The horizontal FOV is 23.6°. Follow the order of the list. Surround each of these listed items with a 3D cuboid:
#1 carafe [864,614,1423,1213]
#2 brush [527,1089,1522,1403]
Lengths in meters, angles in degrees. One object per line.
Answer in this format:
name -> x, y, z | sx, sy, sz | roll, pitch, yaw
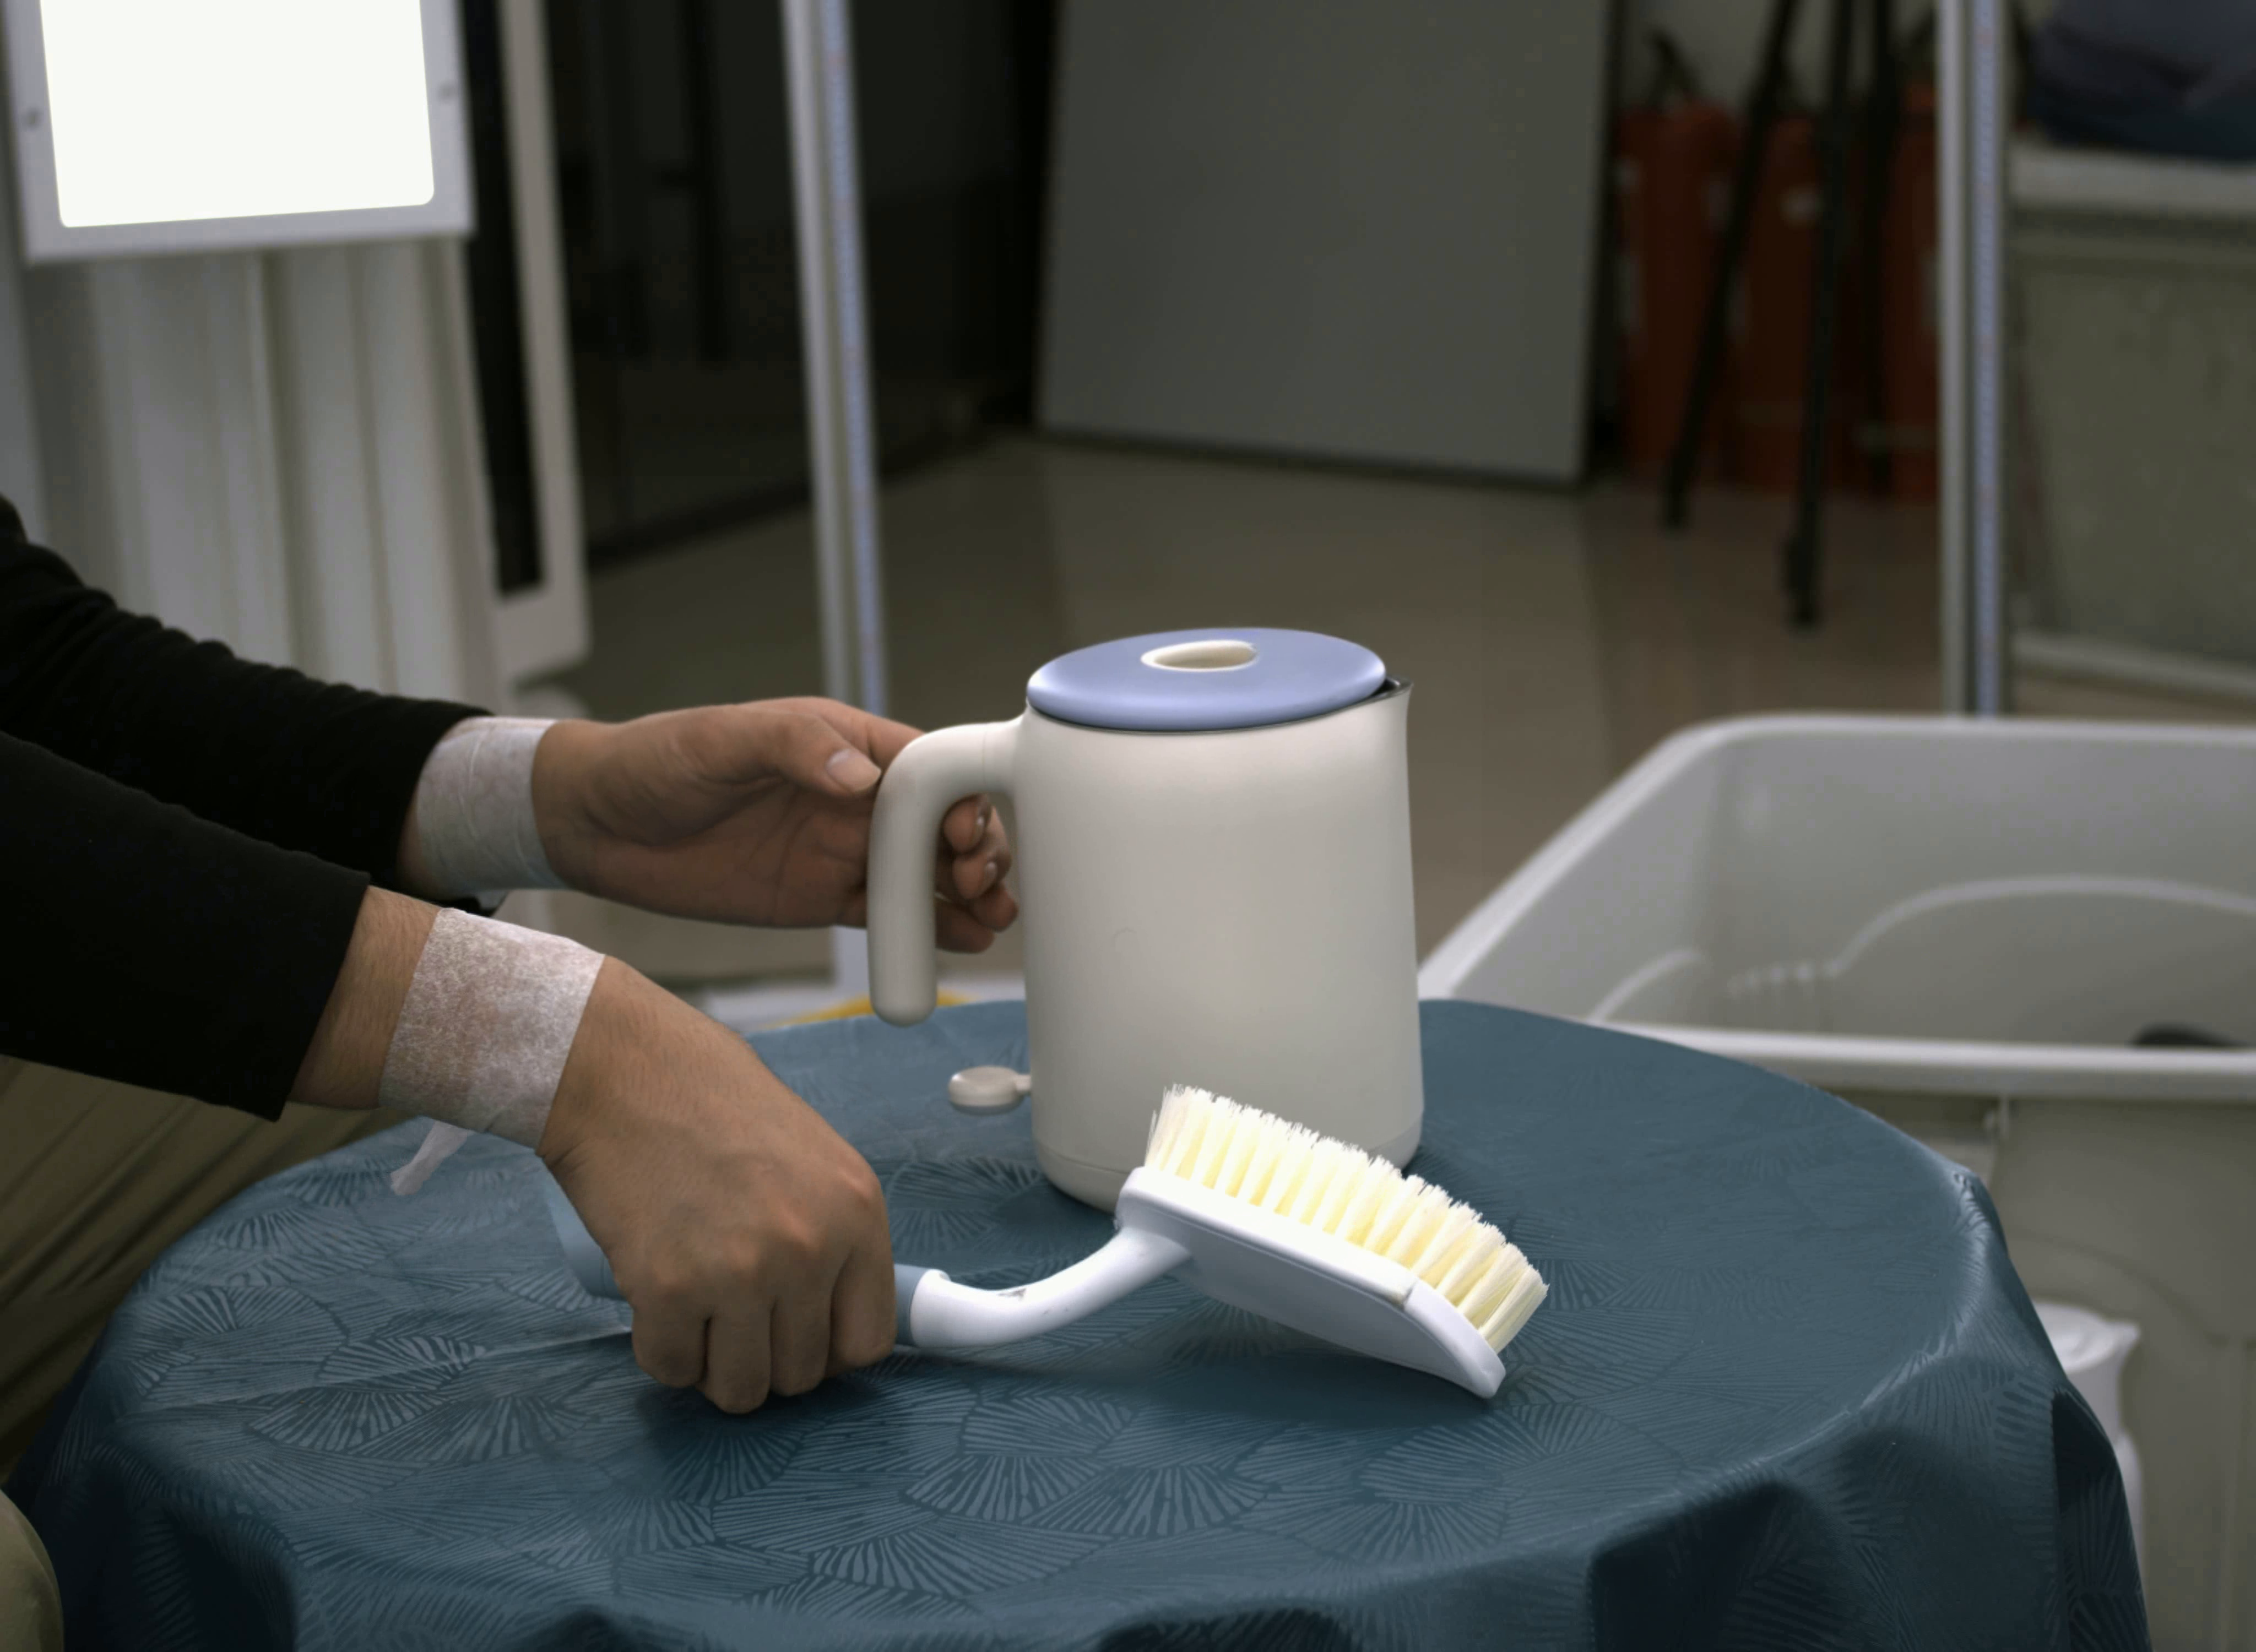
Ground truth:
carafe -> 0.005, 0.030, 1.774 | 0.189, 0.184, 0.132 | -3, 13, 10
brush -> -0.033, 0.114, 1.625 | 0.326, 0.084, 0.083 | 5, 21, 26
